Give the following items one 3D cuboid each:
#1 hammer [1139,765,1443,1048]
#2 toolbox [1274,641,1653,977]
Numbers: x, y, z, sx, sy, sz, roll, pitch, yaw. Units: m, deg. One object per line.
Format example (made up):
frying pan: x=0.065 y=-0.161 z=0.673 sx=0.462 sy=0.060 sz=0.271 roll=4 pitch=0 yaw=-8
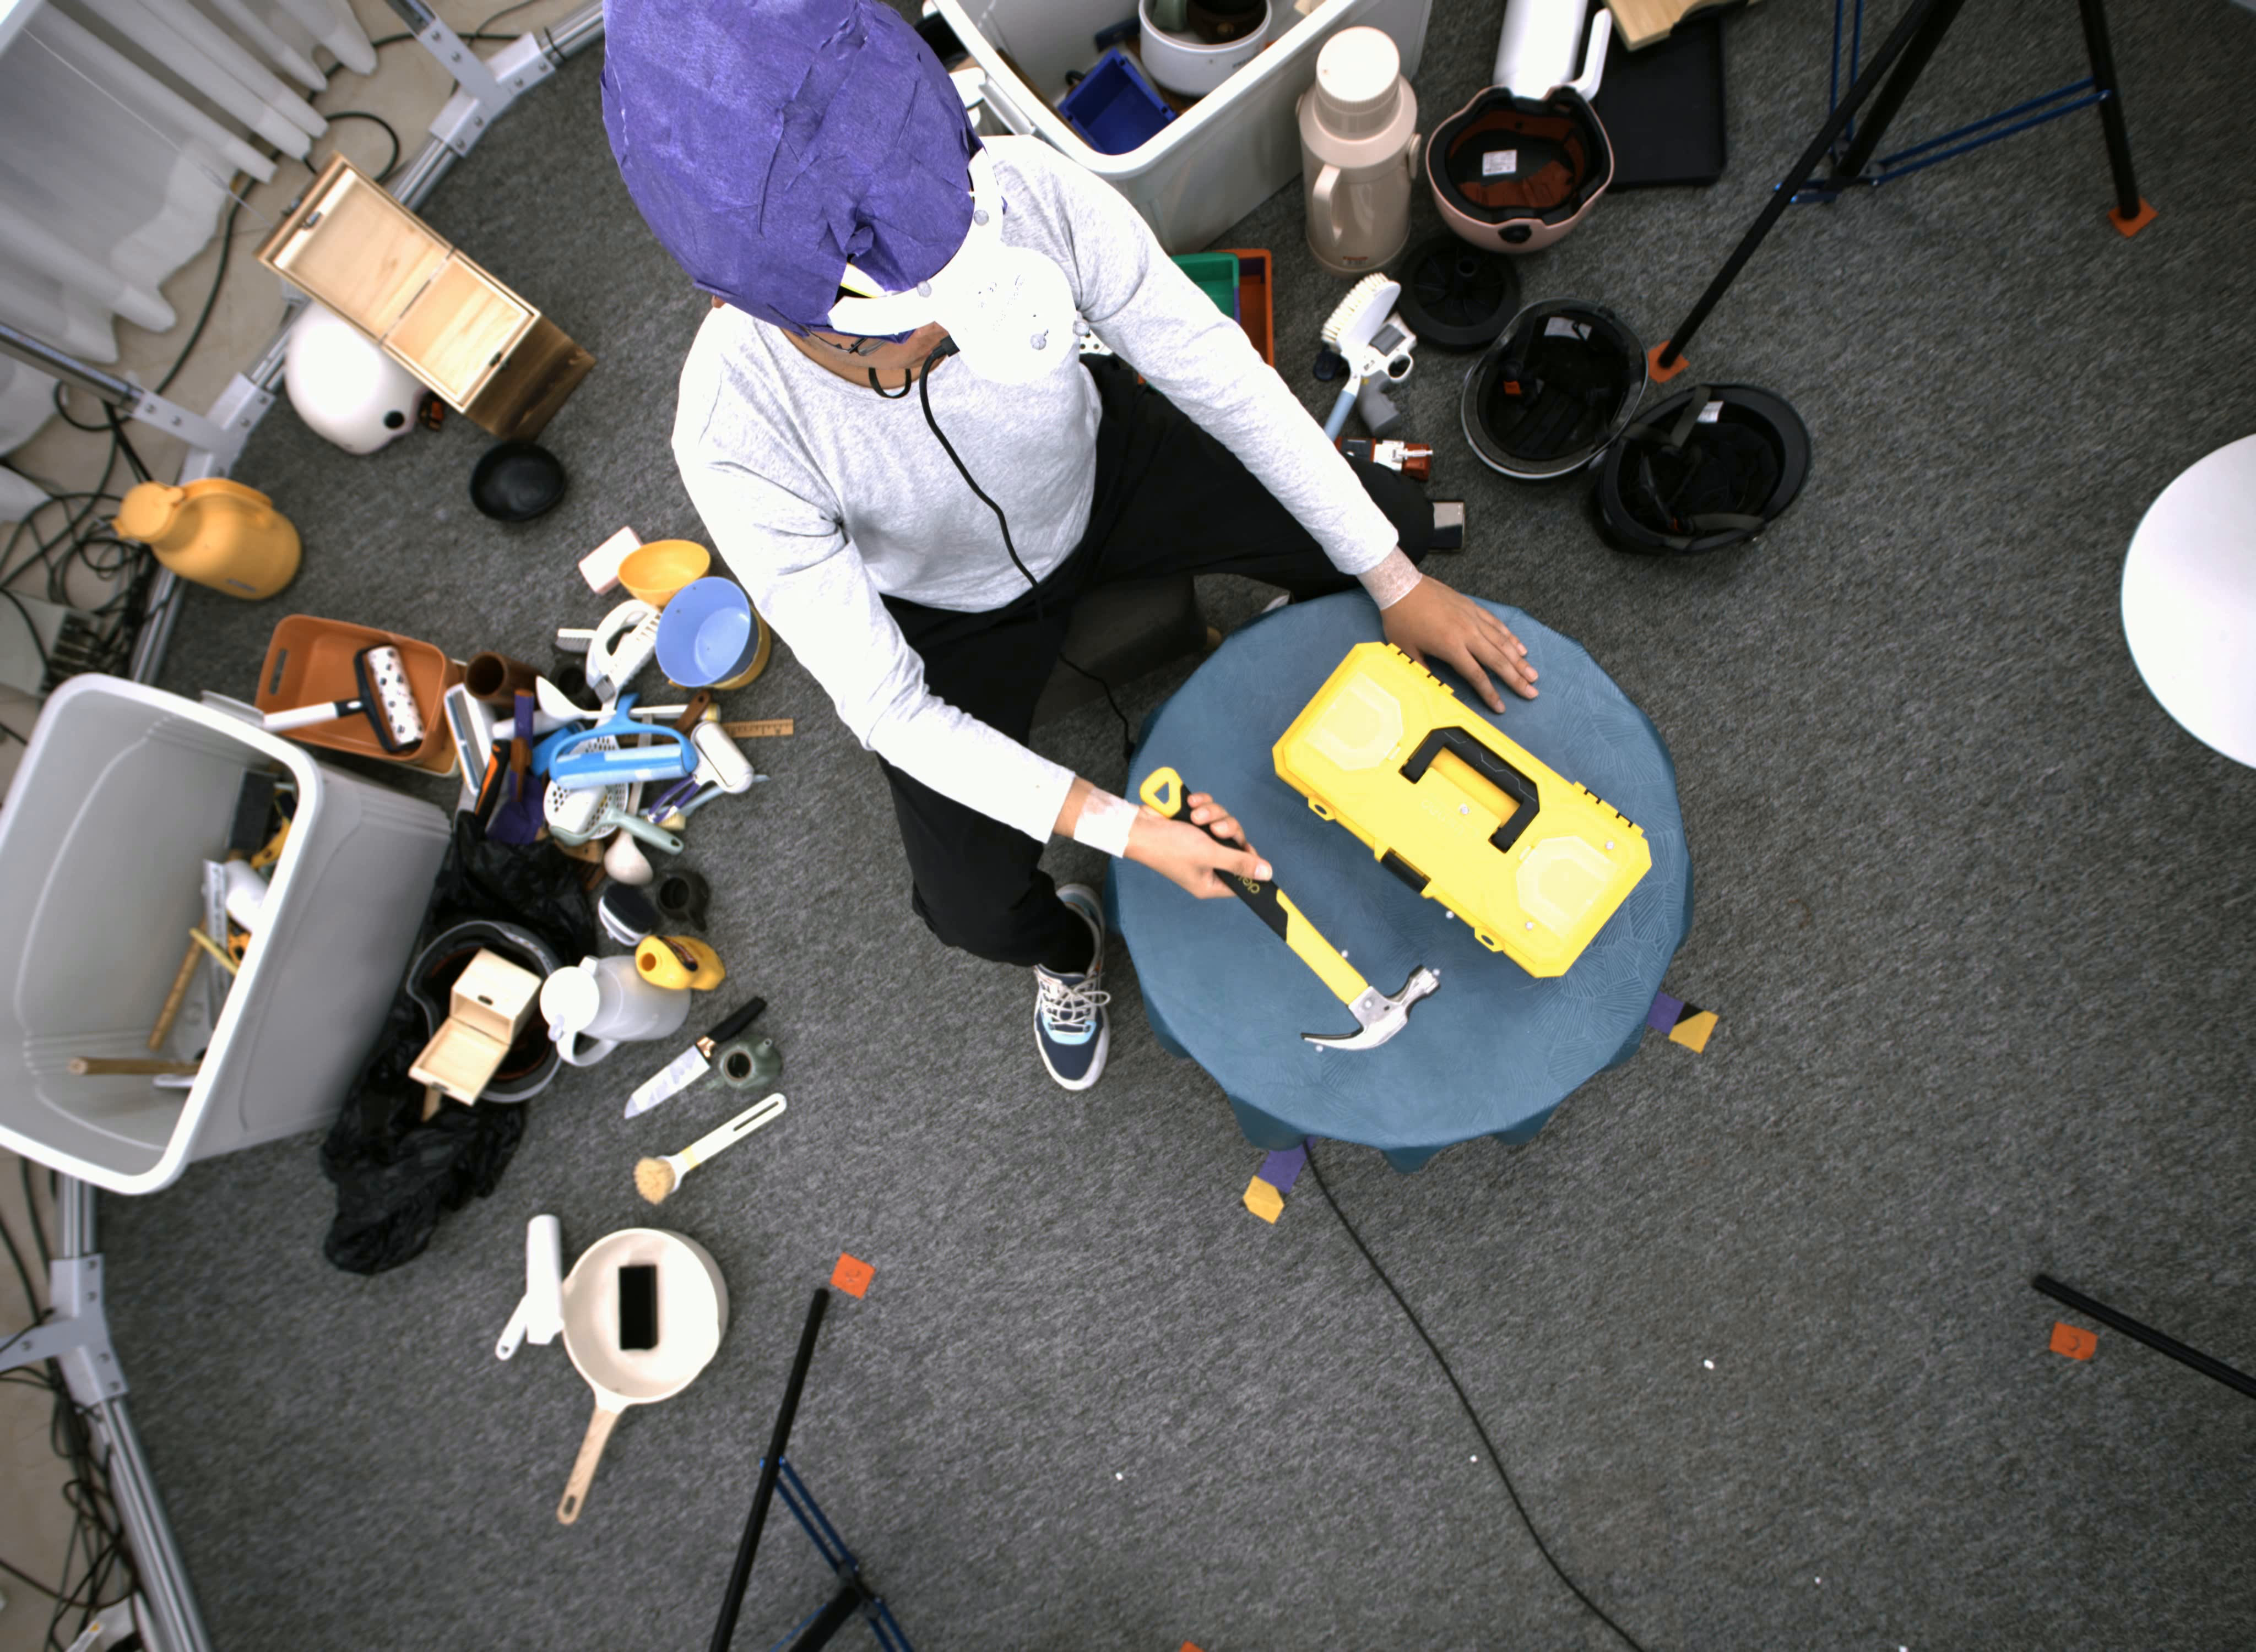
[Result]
hammer: x=0.136 y=0.072 z=1.318 sx=0.132 sy=0.032 sz=0.338 roll=-44 pitch=87 yaw=4
toolbox: x=0.325 y=-0.015 z=1.368 sx=0.350 sy=0.173 sz=0.182 roll=40 pitch=93 yaw=11
